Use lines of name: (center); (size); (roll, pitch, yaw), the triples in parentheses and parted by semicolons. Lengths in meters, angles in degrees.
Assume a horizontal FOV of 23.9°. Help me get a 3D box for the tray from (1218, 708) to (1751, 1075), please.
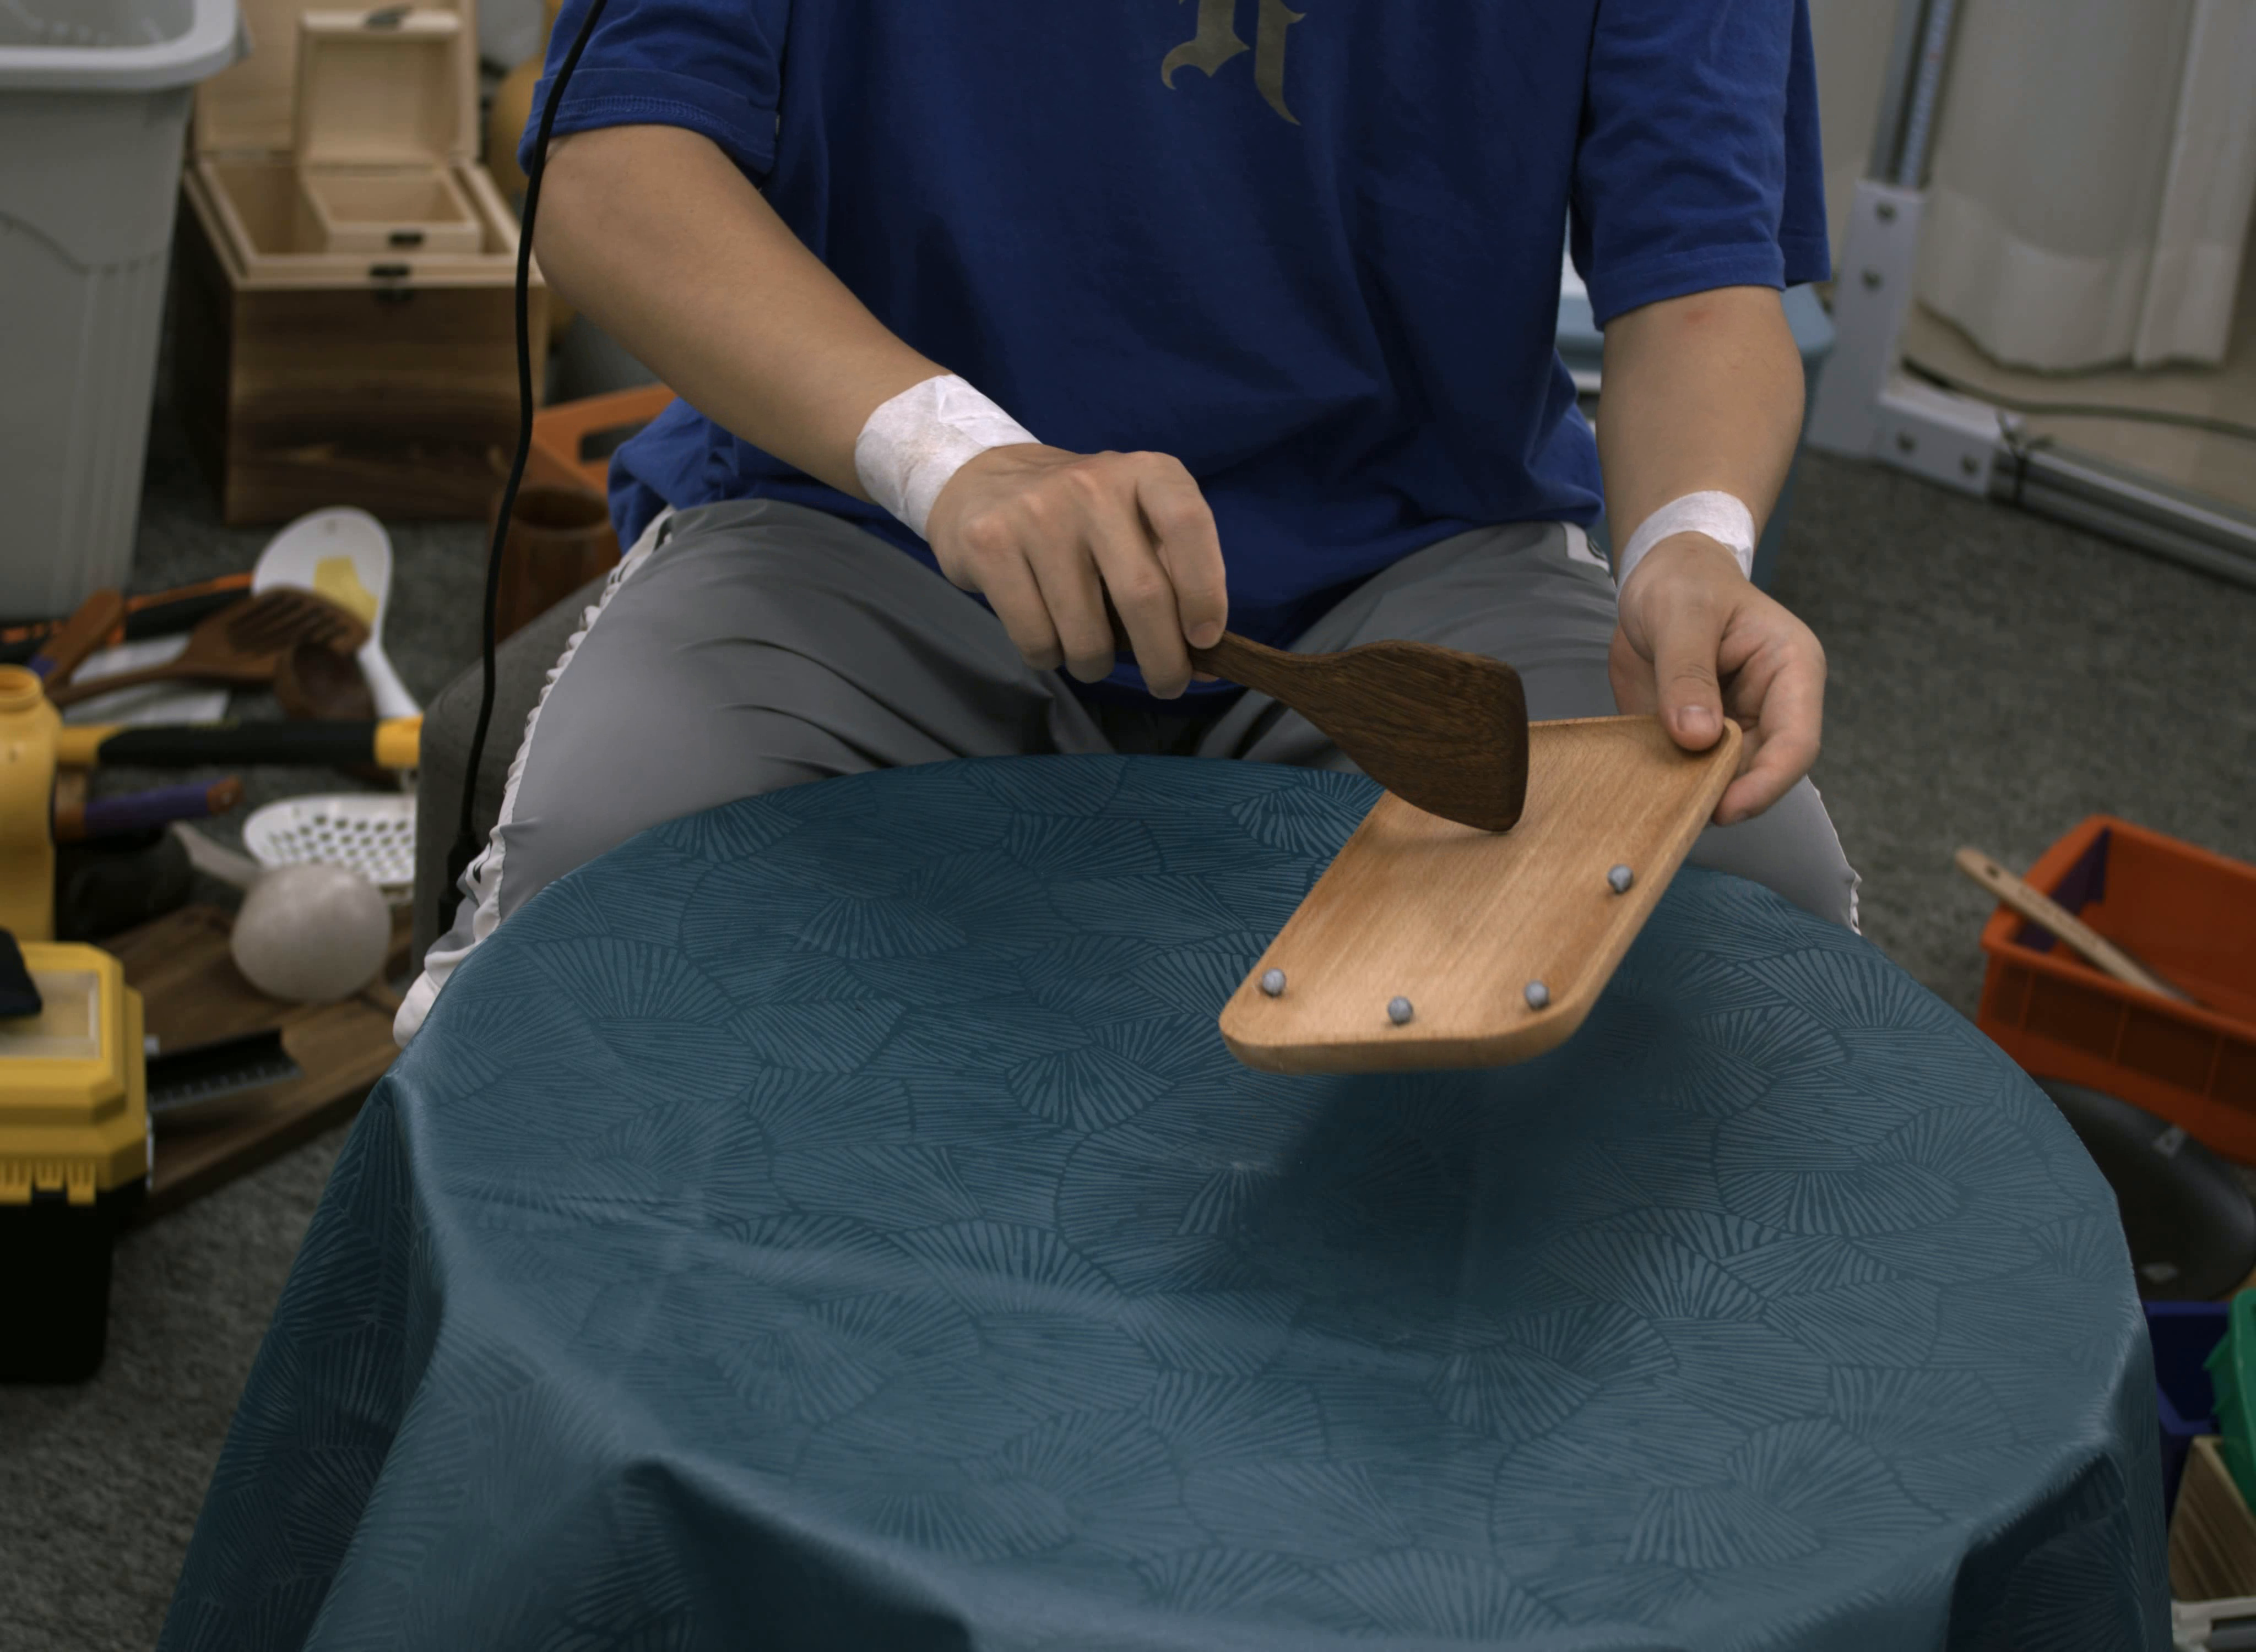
tray: (0.125, 0.020, 1.817); (0.131, 0.023, 0.251); (0, 25, 25)

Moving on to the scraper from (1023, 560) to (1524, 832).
scraper: (0.048, -0.055, 1.884); (0.212, 0.075, 0.011); (20, 44, 31)
